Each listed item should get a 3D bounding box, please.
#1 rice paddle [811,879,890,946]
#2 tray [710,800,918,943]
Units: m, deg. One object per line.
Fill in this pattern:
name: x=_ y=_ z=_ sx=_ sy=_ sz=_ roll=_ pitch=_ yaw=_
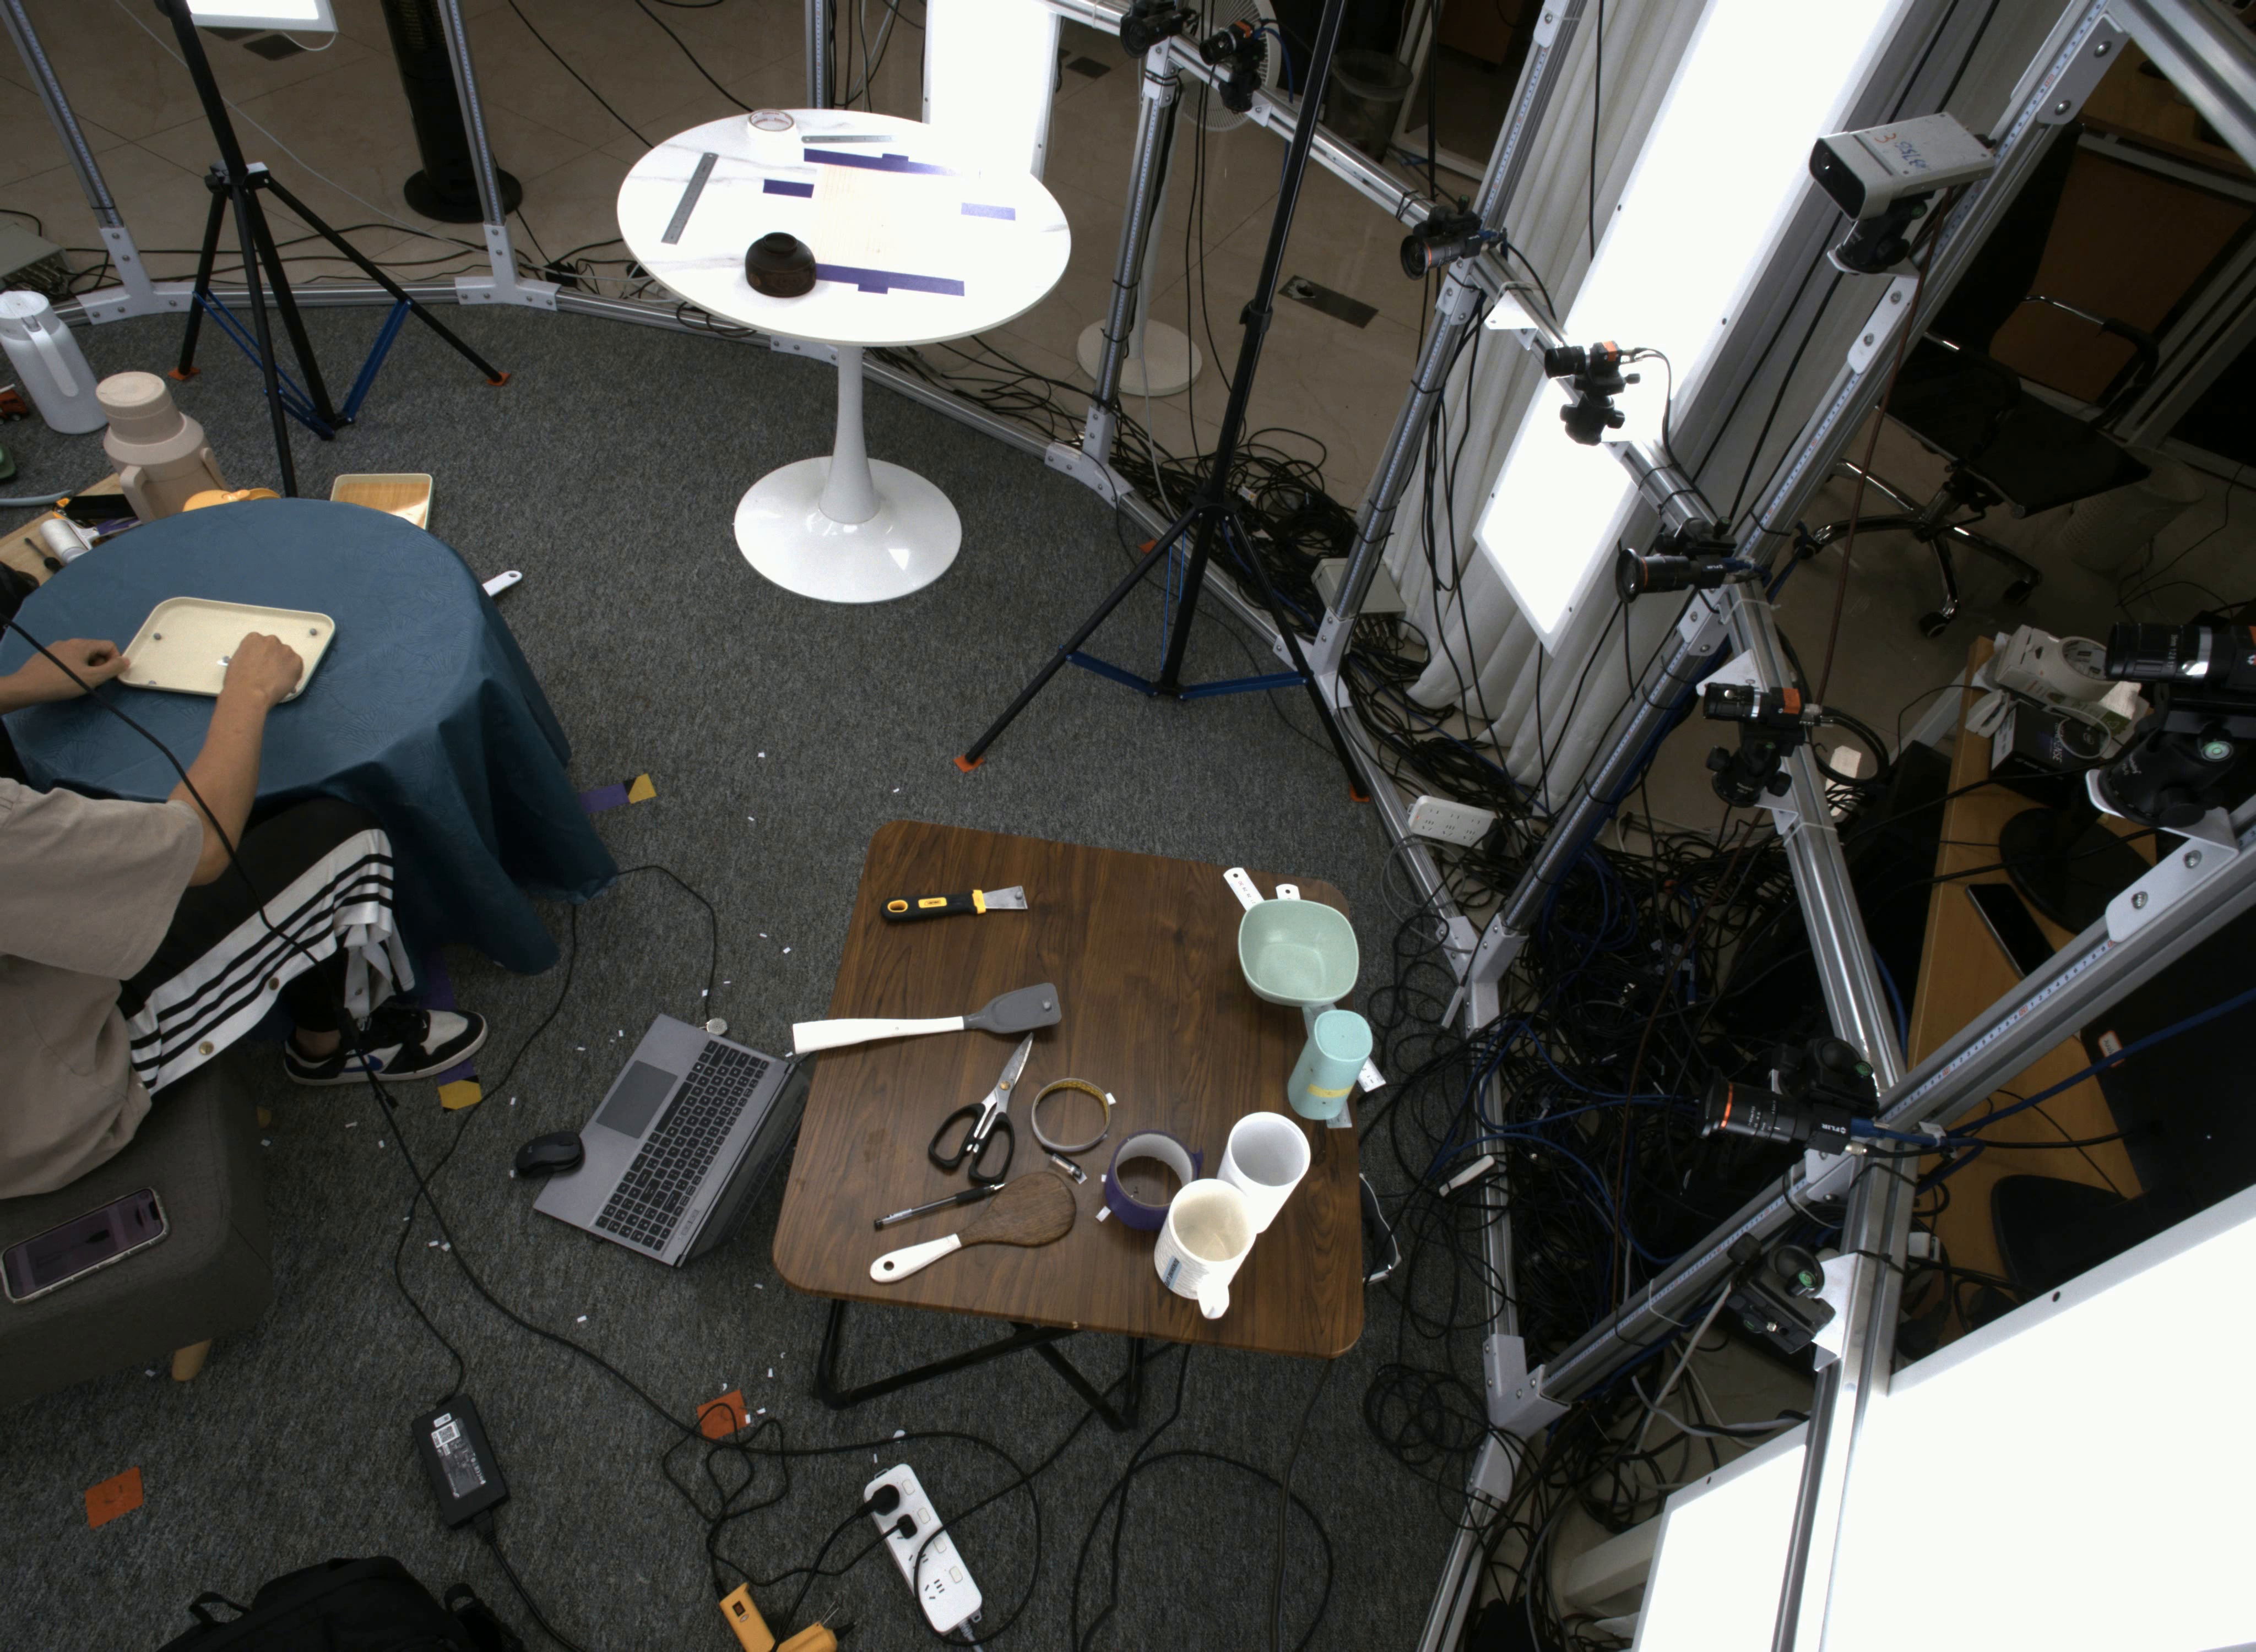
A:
rice paddle: x=-0.338 y=0.095 z=1.590 sx=0.069 sy=0.030 sz=0.198 roll=-10 pitch=22 yaw=-27
tray: x=-0.405 y=0.058 z=1.685 sx=0.237 sy=0.018 sz=0.169 roll=18 pitch=51 yaw=1
